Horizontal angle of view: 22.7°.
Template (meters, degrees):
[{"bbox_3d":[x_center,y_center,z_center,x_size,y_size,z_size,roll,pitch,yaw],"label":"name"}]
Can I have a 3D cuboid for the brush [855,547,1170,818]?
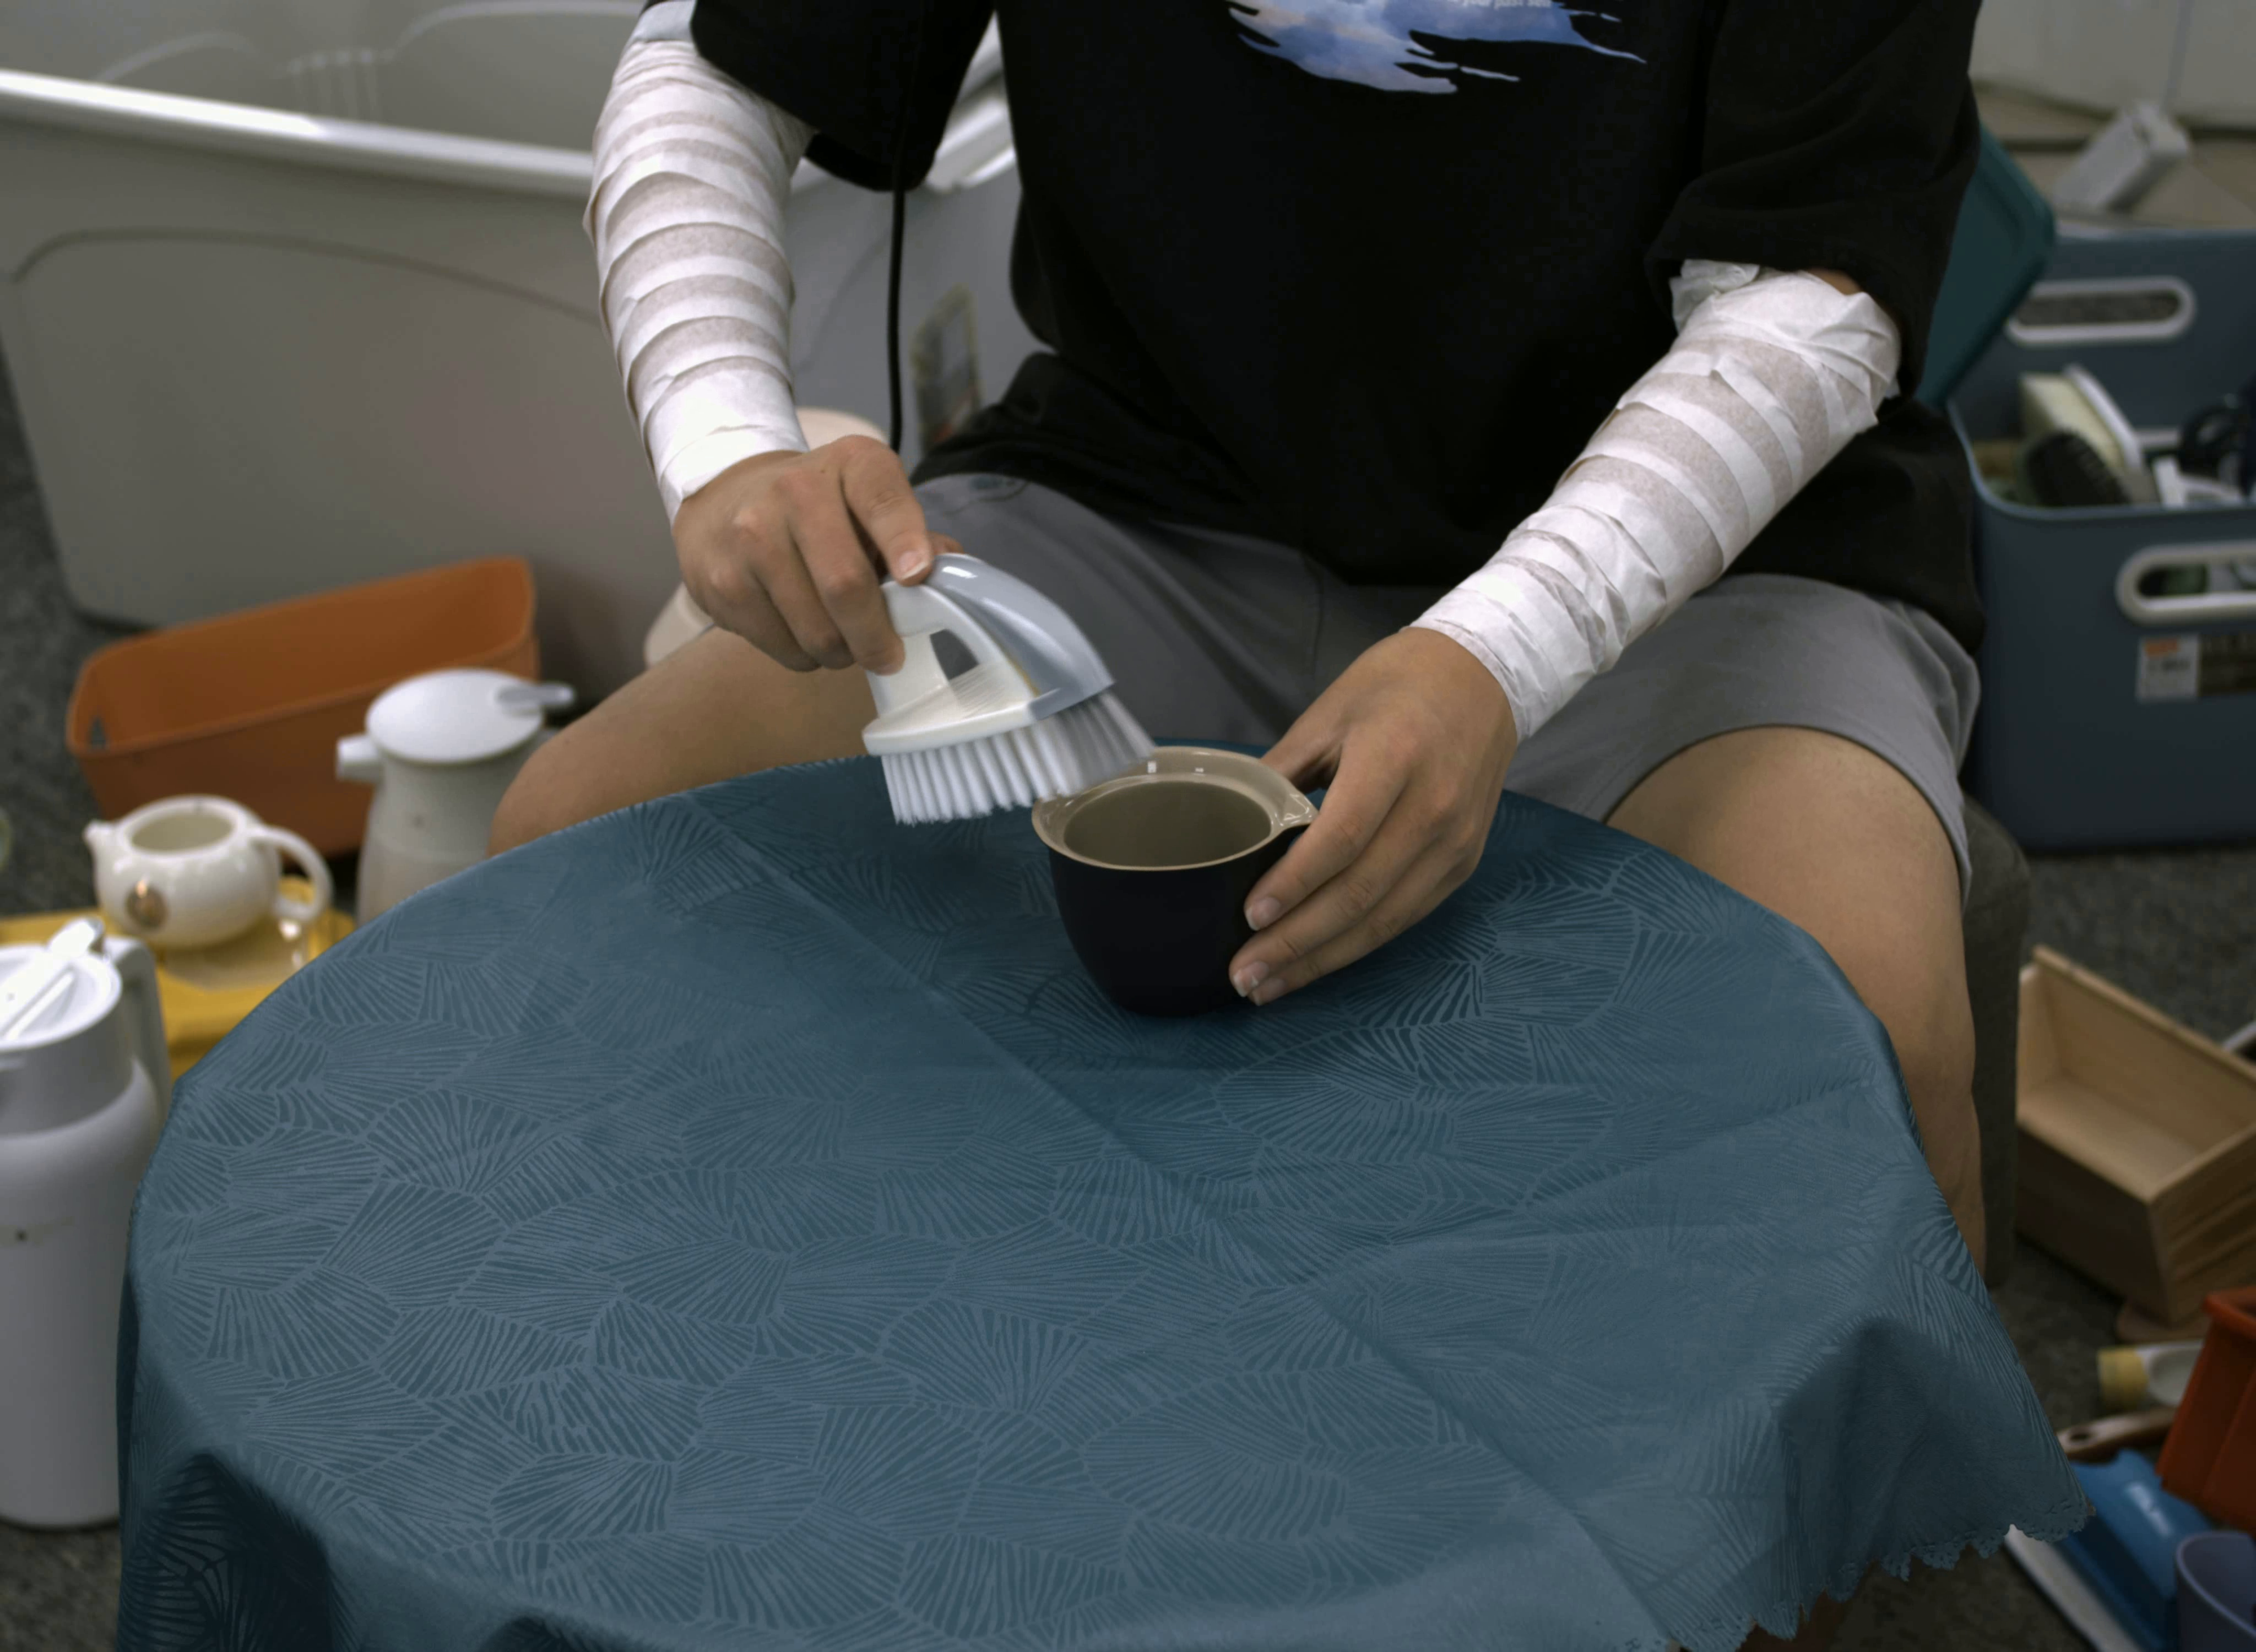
[{"bbox_3d":[-0.045,-0.057,1.992,0.062,0.094,0.174,-35,14,-22],"label":"brush"}]

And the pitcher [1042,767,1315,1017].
[{"bbox_3d":[0.017,0.025,1.970,0.095,0.070,0.085,2,26,4],"label":"pitcher"}]
